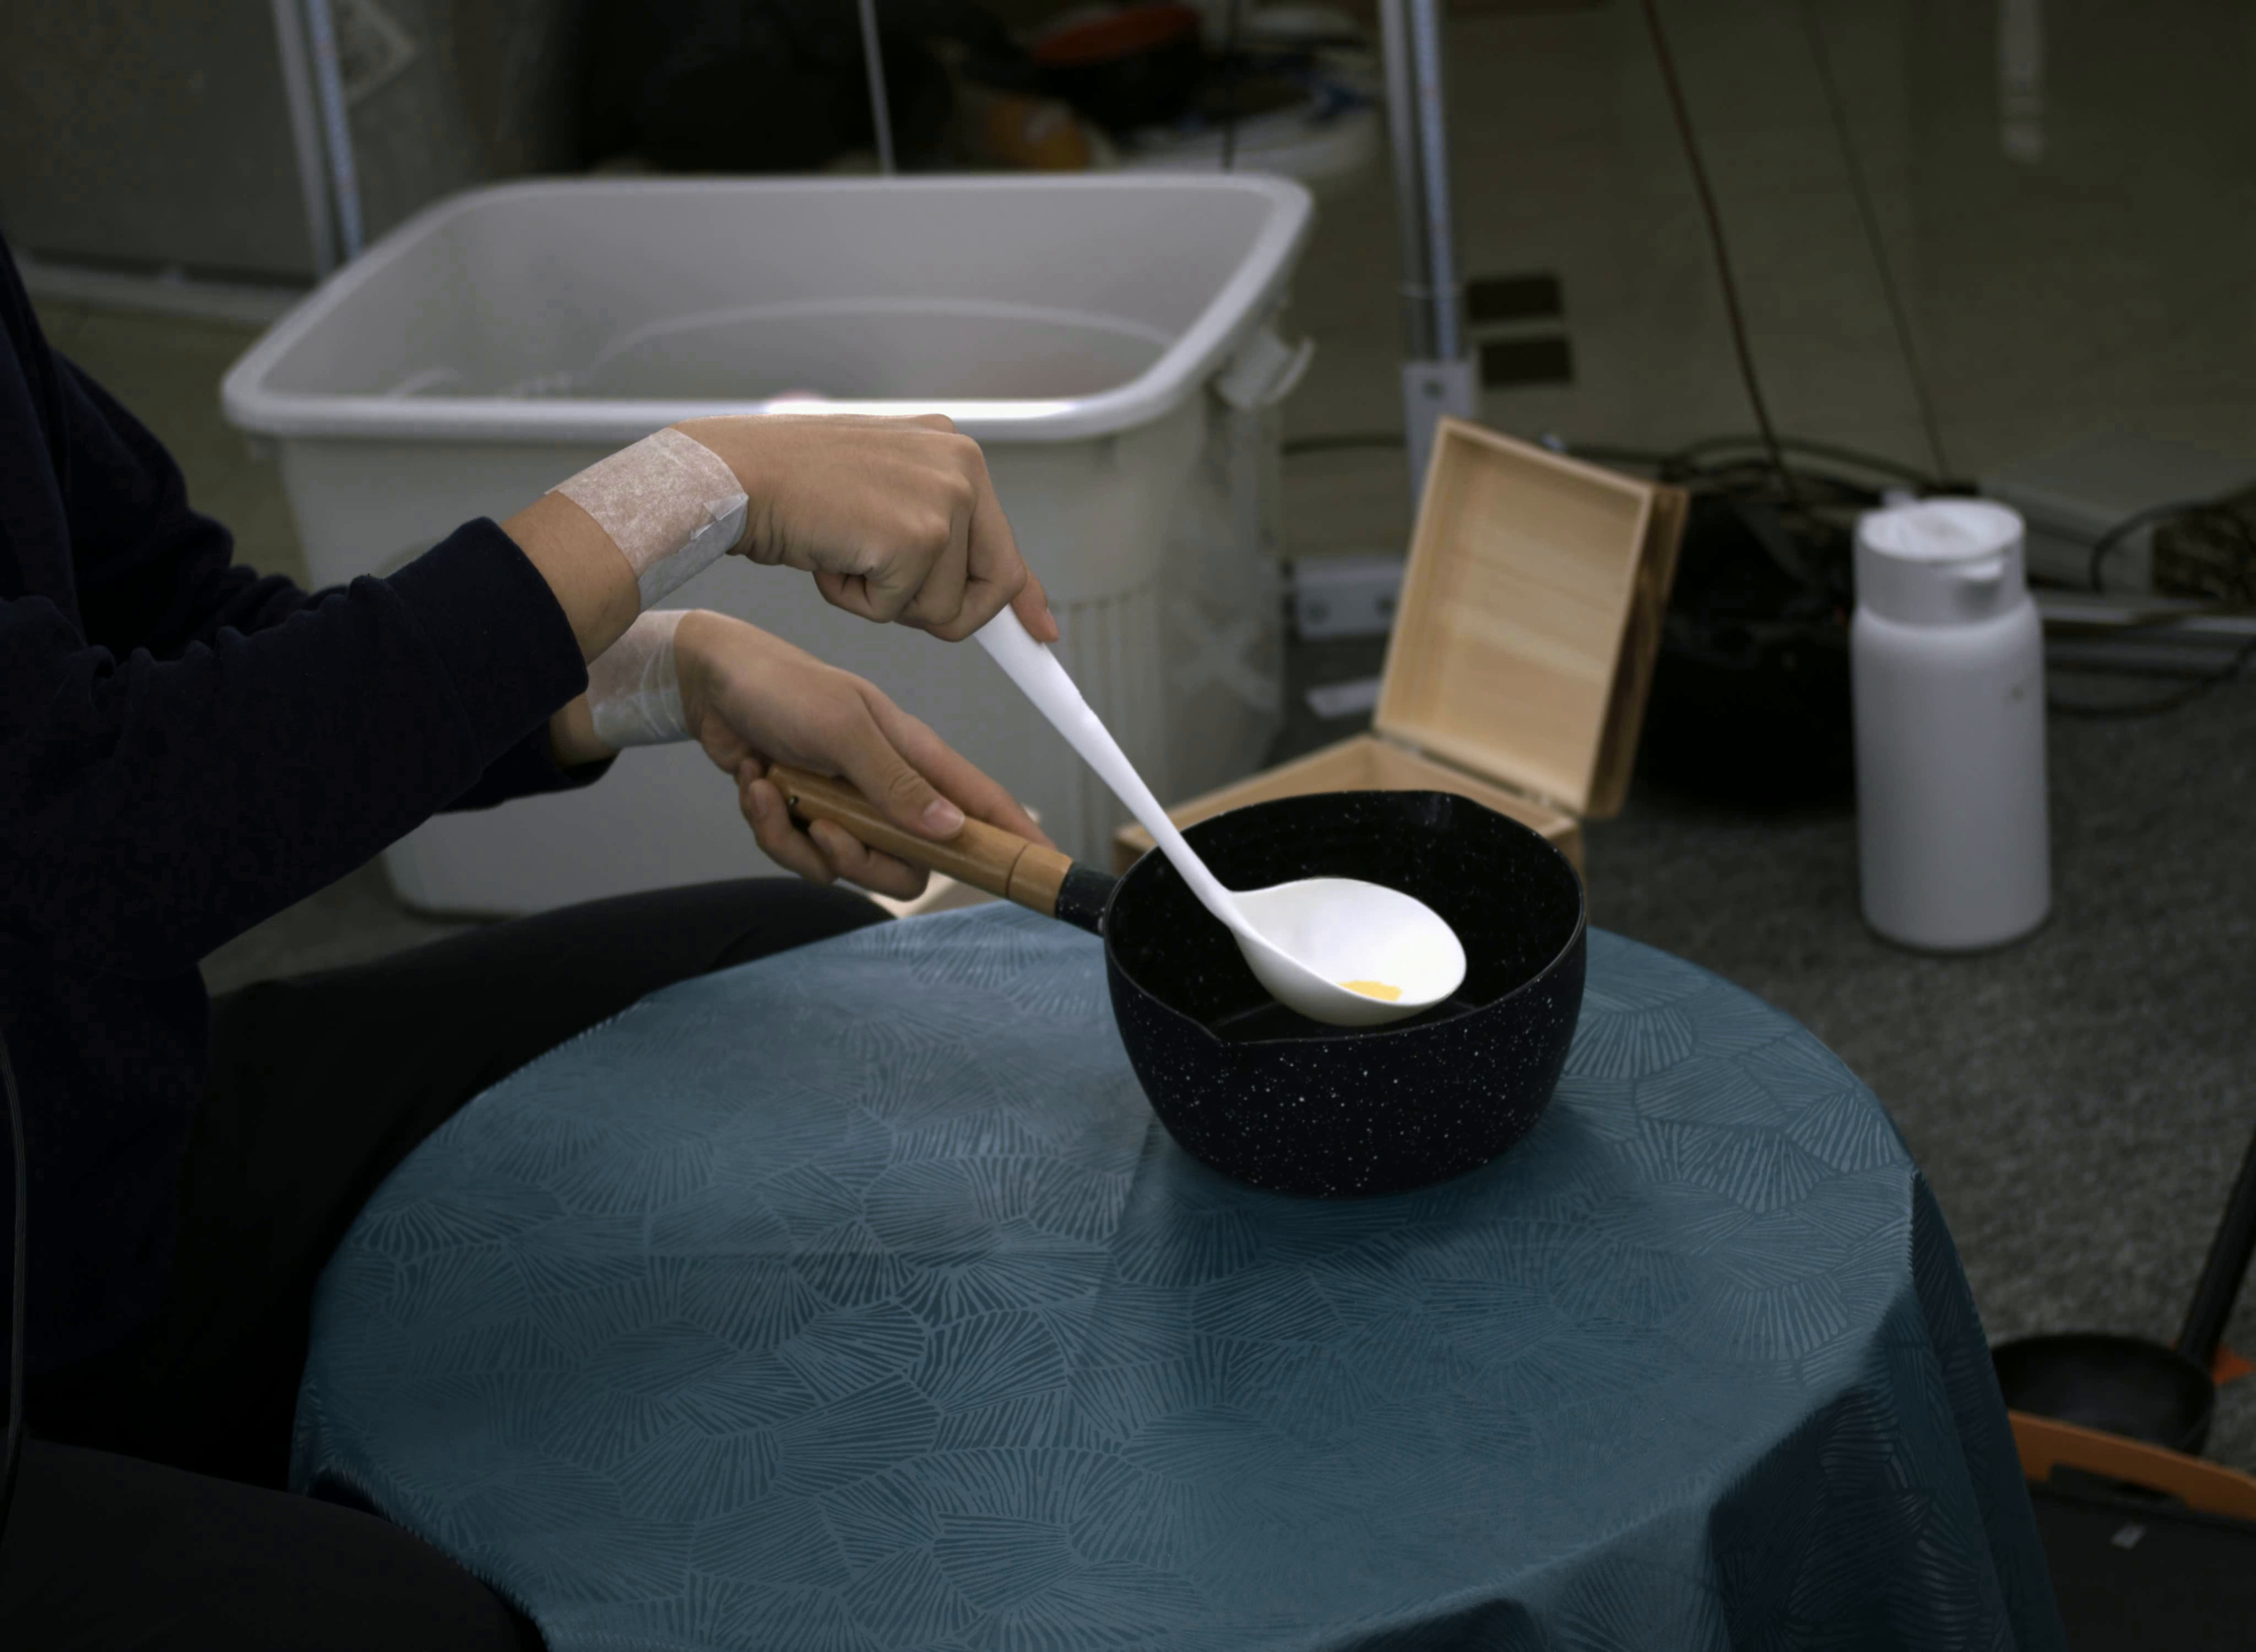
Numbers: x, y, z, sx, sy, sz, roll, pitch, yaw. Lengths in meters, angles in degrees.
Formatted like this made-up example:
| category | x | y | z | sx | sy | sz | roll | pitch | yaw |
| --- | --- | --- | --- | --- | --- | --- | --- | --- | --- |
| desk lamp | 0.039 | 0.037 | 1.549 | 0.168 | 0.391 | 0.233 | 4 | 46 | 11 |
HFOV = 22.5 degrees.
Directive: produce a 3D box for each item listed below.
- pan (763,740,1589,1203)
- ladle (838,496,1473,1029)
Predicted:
| category | x | y | z | sx | sy | sz | roll | pitch | yaw |
| --- | --- | --- | --- | --- | --- | --- | --- | --- | --- |
| pan | 0.012 | 0.045 | 2.190 | 0.341 | 0.110 | 0.204 | 11 | 35 | 23 |
| ladle | 0.013 | -0.022 | 2.099 | 0.070 | 0.296 | 0.088 | -31 | 28 | 25 |
